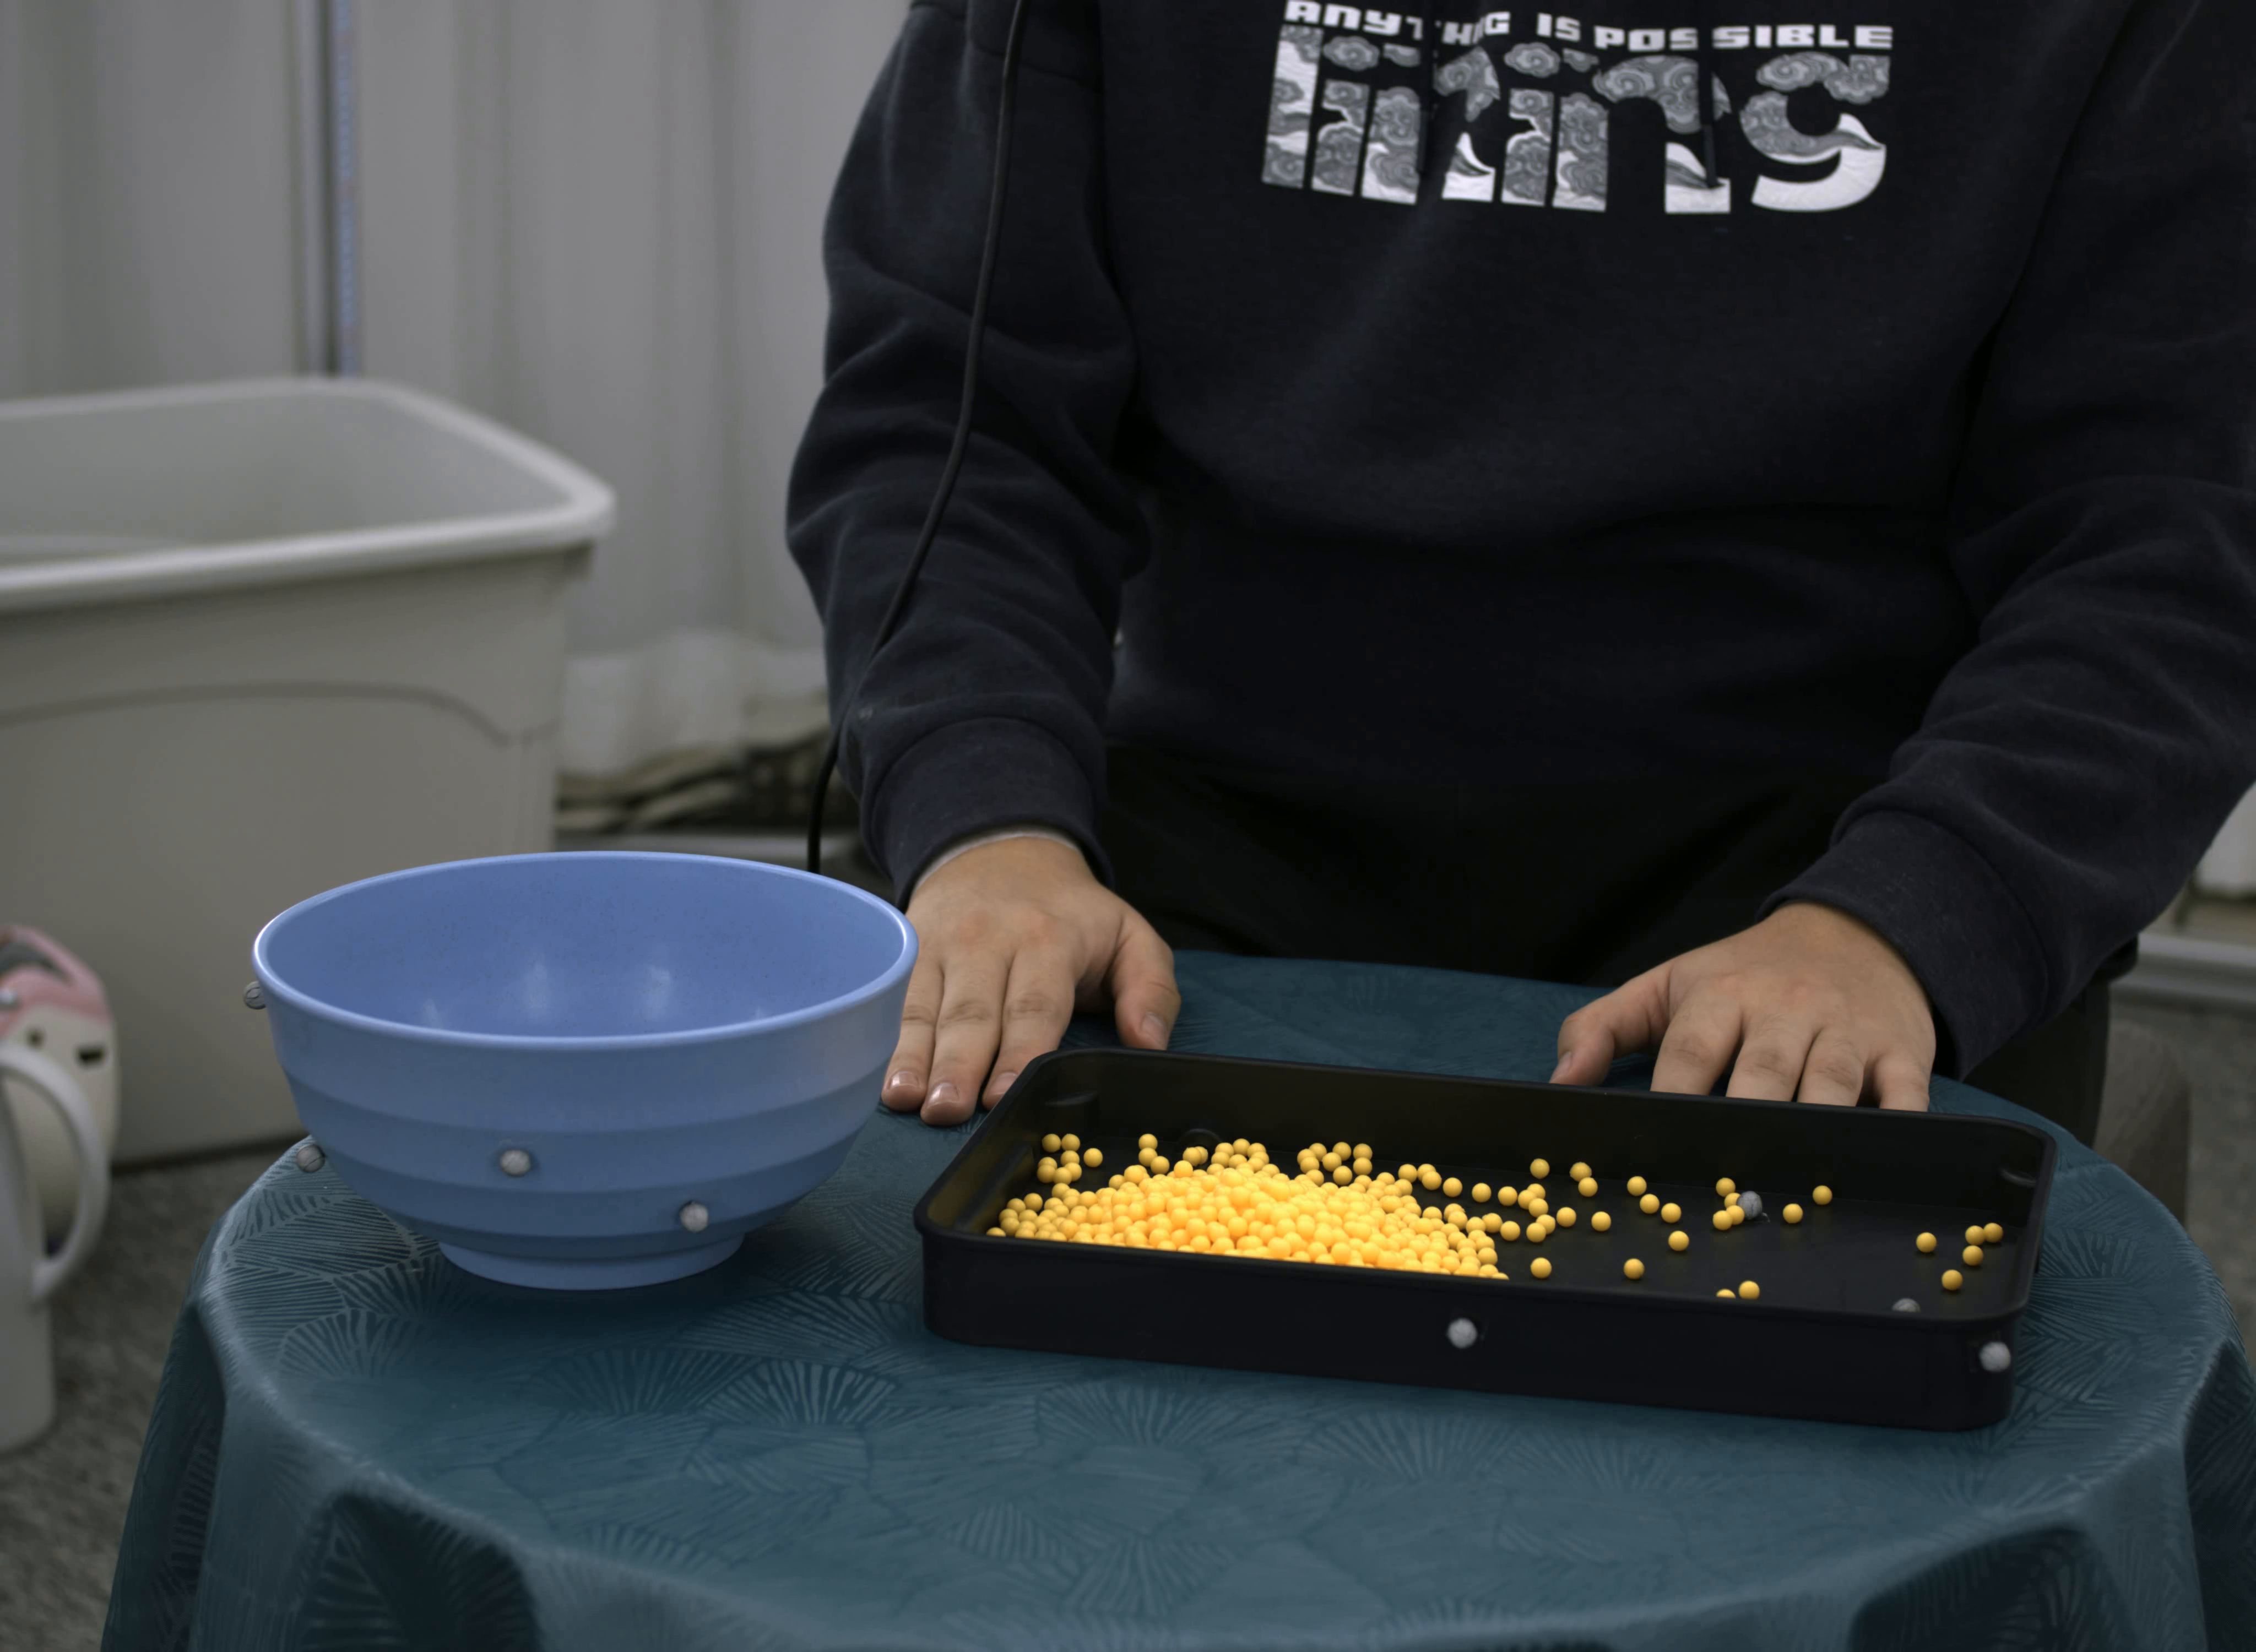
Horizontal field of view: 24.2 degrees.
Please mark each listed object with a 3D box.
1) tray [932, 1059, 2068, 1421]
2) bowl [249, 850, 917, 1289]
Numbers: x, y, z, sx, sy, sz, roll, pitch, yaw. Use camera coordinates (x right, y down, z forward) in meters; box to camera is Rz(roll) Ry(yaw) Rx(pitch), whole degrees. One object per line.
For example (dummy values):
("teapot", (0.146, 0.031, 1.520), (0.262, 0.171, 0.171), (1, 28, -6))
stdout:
("tray", (0.113, 0.119, 1.547), (0.316, 0.037, 0.184), (2, 15, 10))
("bowl", (-0.159, 0.077, 1.563), (0.196, 0.096, 0.195), (-1, 16, 1))
